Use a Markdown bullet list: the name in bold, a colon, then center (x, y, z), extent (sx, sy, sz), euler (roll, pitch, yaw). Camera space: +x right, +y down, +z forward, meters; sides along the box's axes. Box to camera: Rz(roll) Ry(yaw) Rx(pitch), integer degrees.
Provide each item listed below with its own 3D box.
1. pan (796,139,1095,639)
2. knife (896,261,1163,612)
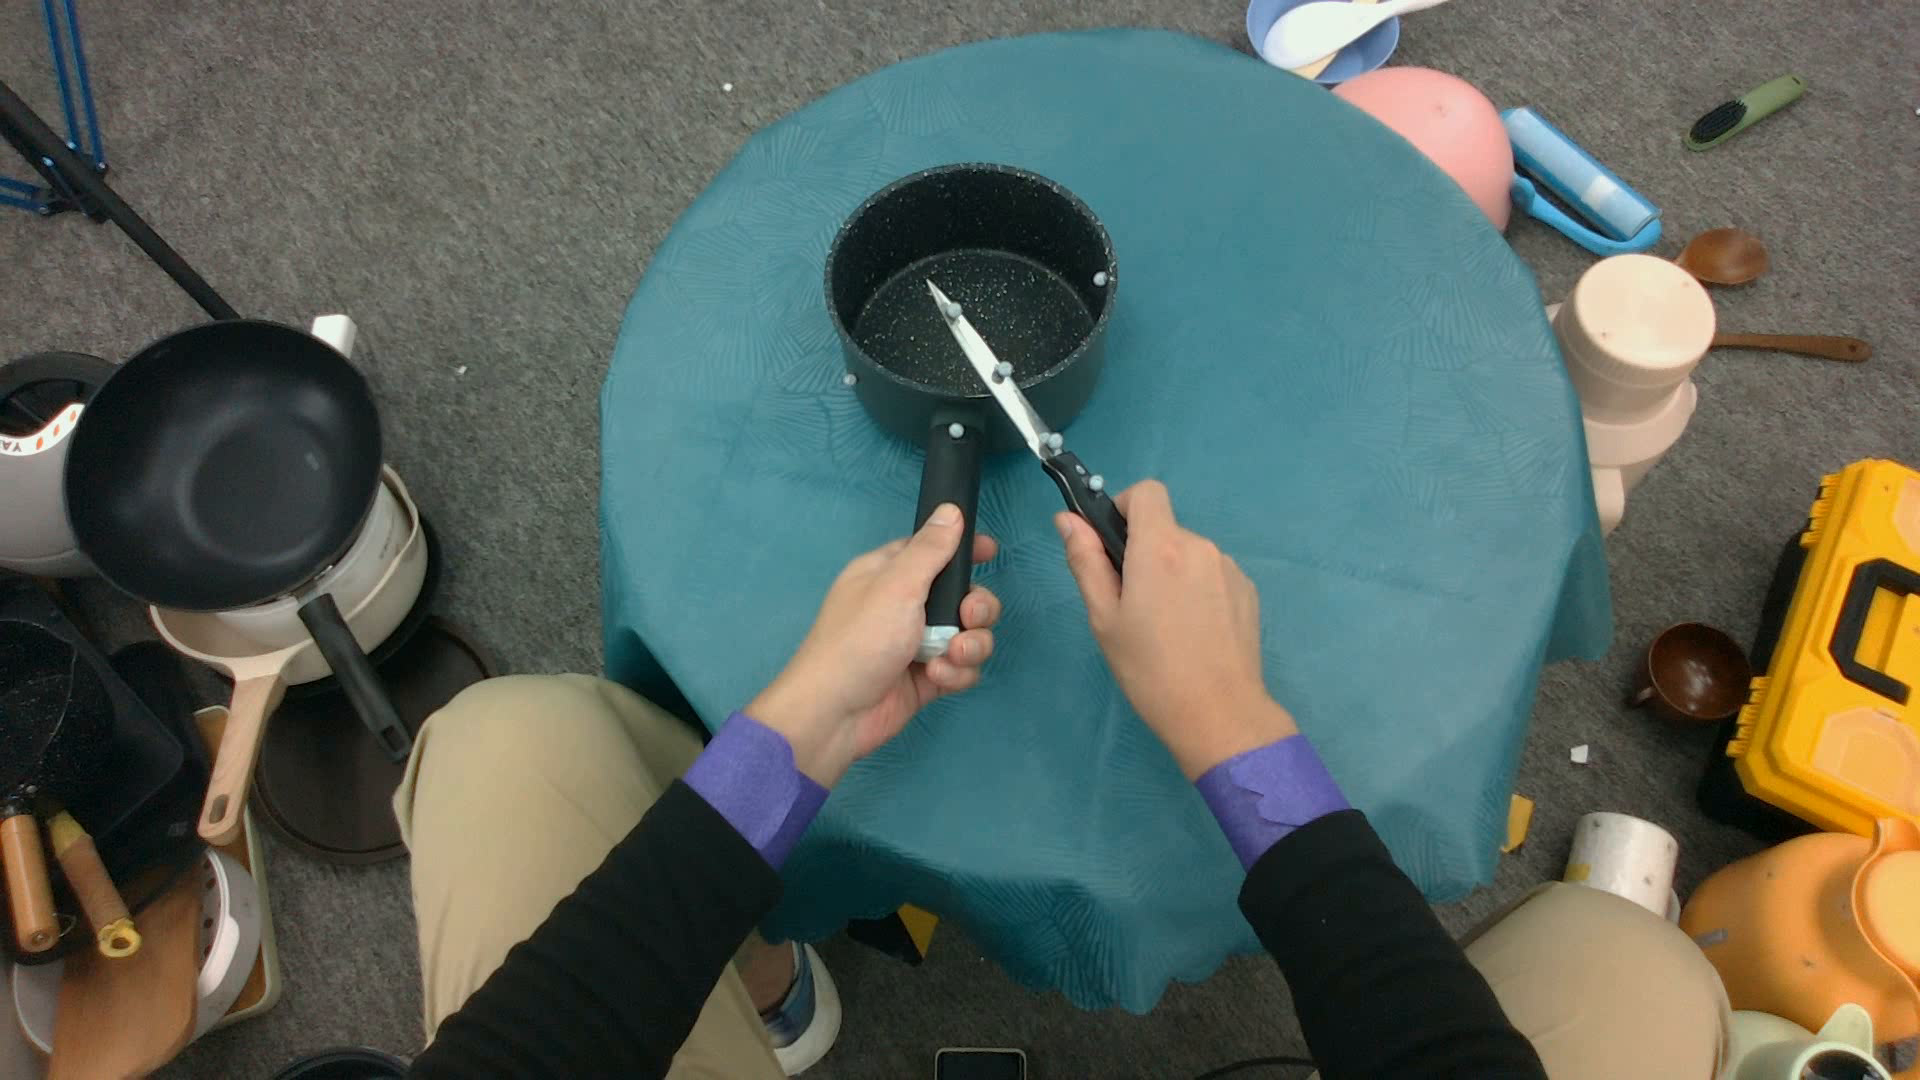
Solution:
- **pan**: center (-0.018, -0.082, 0.786), extent (0.172, 0.086, 0.330), euler (6, 61, 5)
- **knife**: center (0.035, -0.061, 0.734), extent (0.024, 0.016, 0.238), euler (-21, 70, -47)
